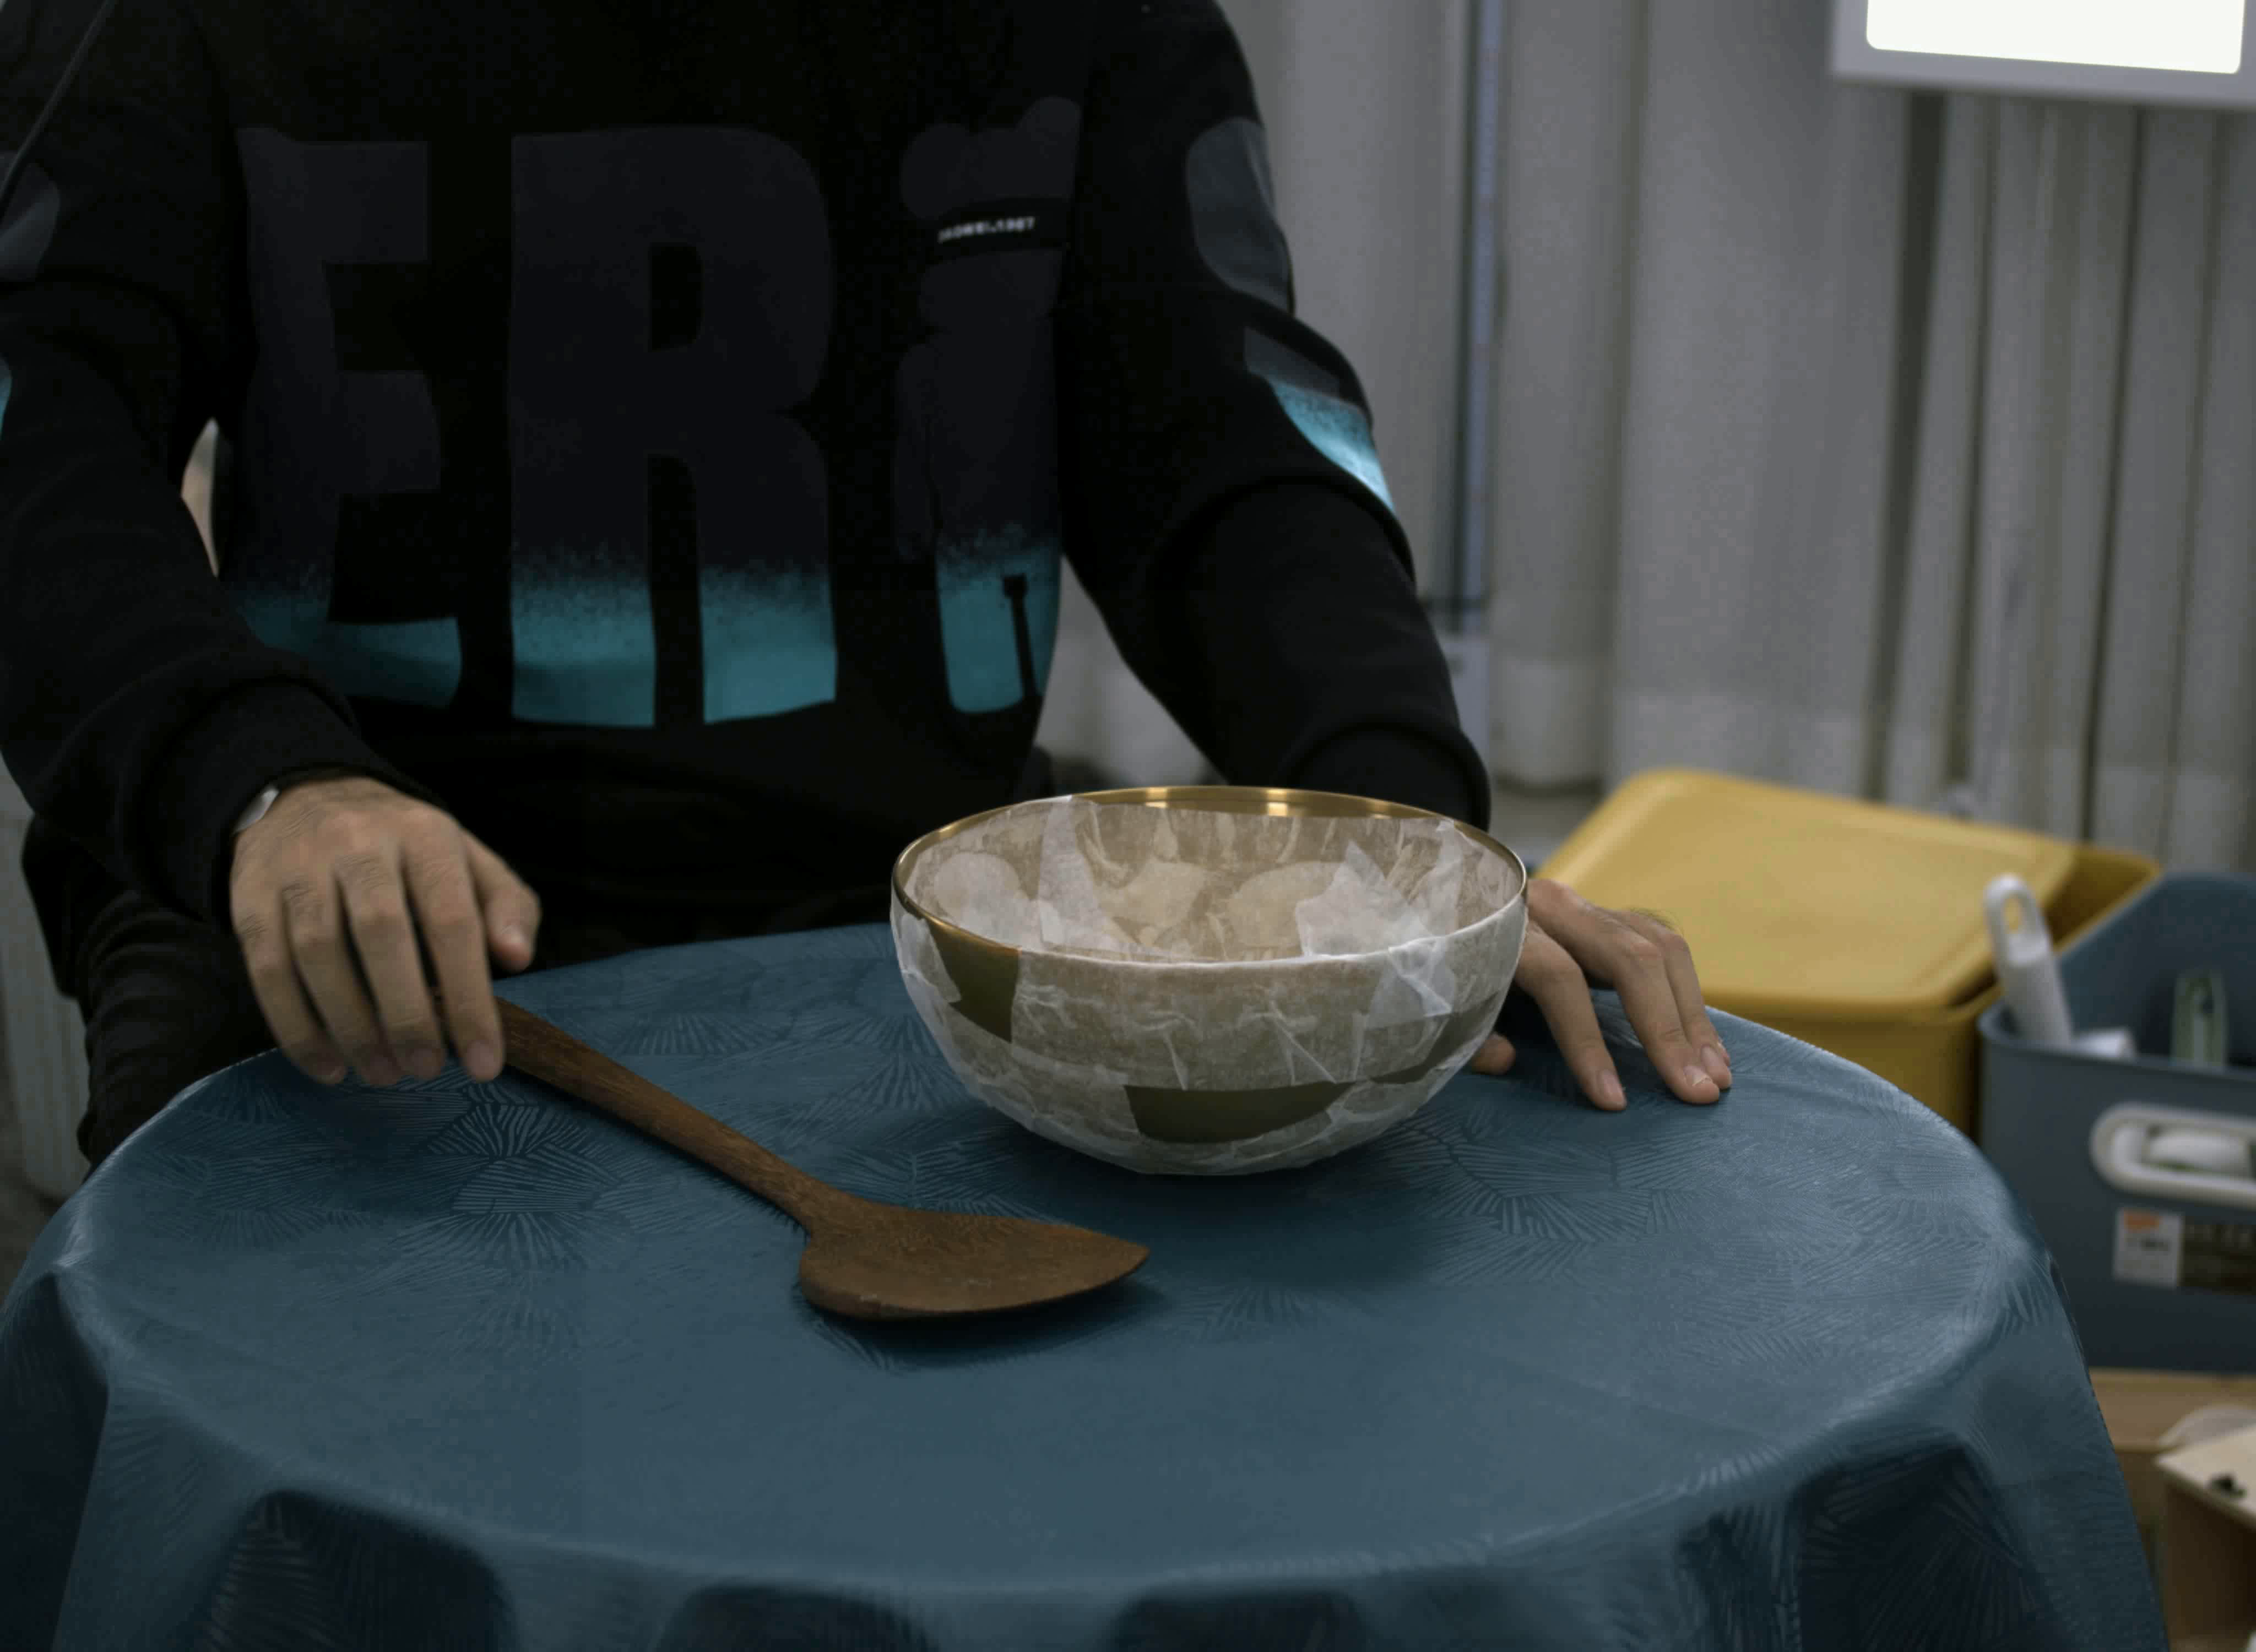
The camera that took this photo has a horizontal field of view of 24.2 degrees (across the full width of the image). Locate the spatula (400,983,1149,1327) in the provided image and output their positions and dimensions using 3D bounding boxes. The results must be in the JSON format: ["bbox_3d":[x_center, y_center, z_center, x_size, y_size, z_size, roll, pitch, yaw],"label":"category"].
[{"bbox_3d":[-0.133,0.097,1.649,0.096,0.016,0.381,-10,19,-34],"label":"spatula"}]

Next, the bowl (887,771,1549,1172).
[{"bbox_3d":[0.028,0.054,1.660,0.214,0.095,0.213,-1,16,1],"label":"bowl"}]
